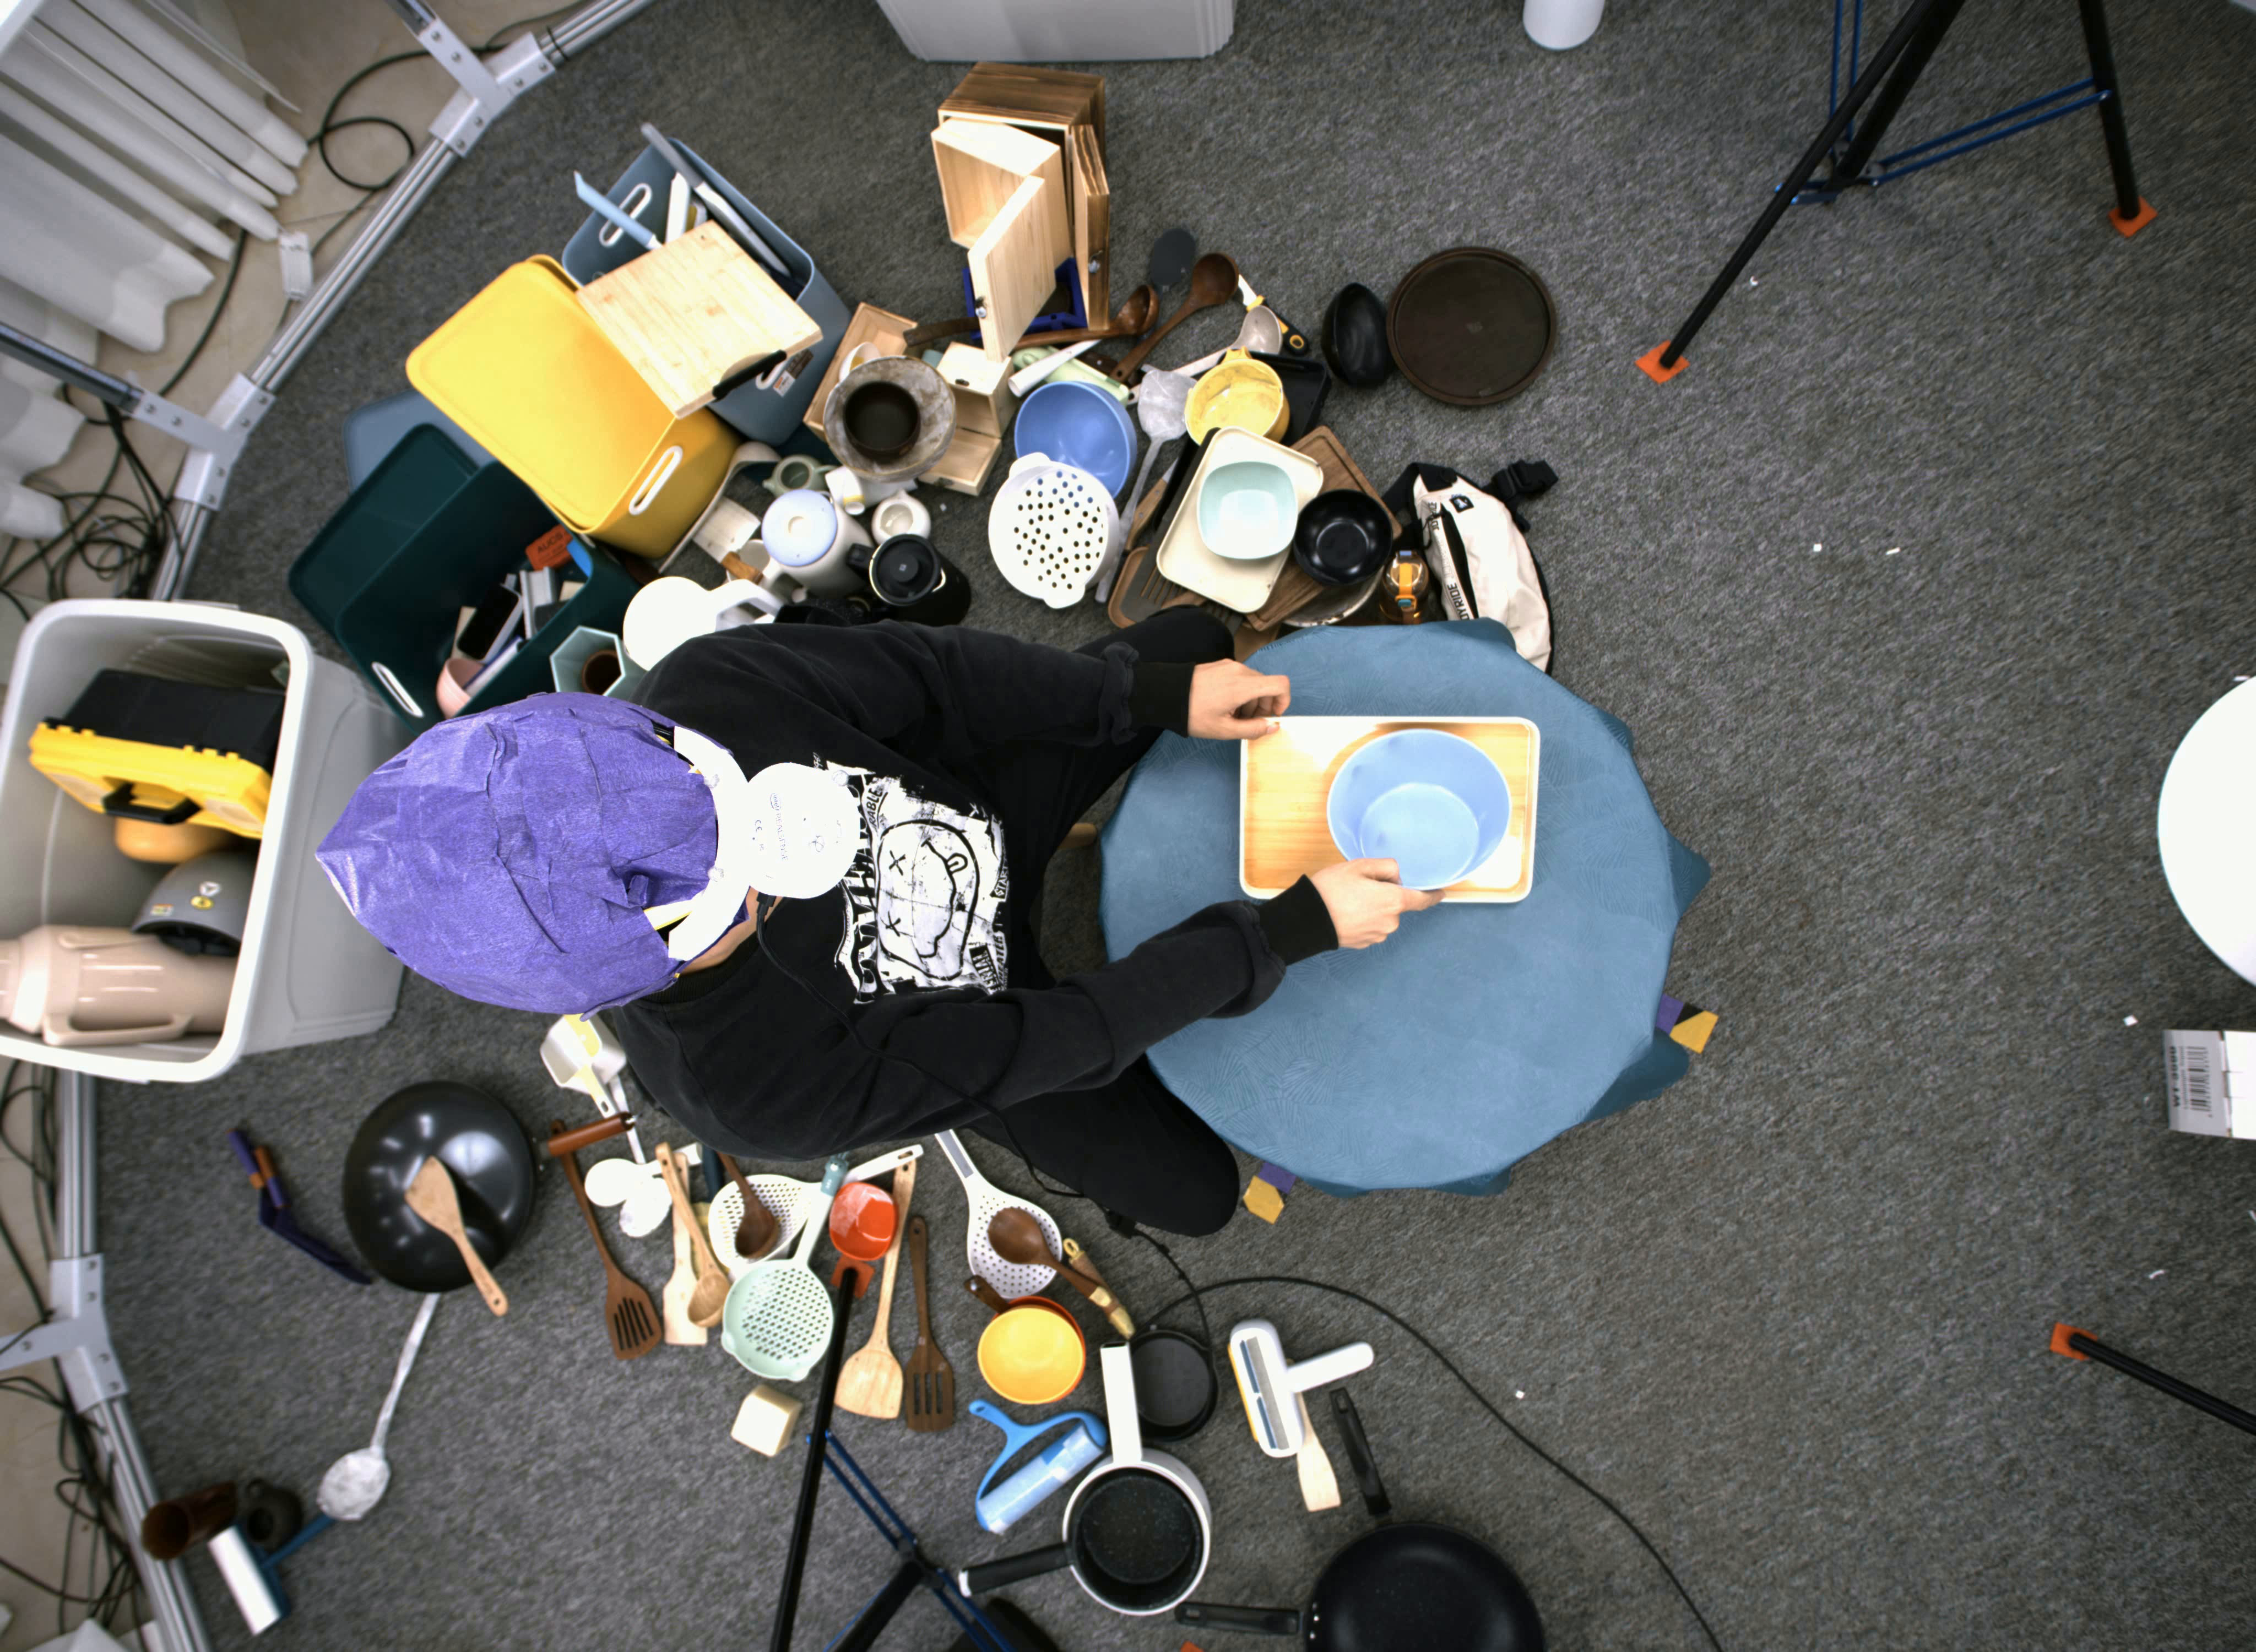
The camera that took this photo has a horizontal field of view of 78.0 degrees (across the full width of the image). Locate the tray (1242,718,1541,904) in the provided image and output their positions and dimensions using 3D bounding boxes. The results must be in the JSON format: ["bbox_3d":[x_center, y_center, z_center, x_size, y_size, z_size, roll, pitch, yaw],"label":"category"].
[{"bbox_3d":[0.268,-0.018,1.420,0.301,0.027,0.193,1,104,5],"label":"tray"}]

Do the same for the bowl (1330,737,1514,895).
[{"bbox_3d":[0.290,0.000,1.359,0.177,0.071,0.172,-7,59,10],"label":"bowl"}]
